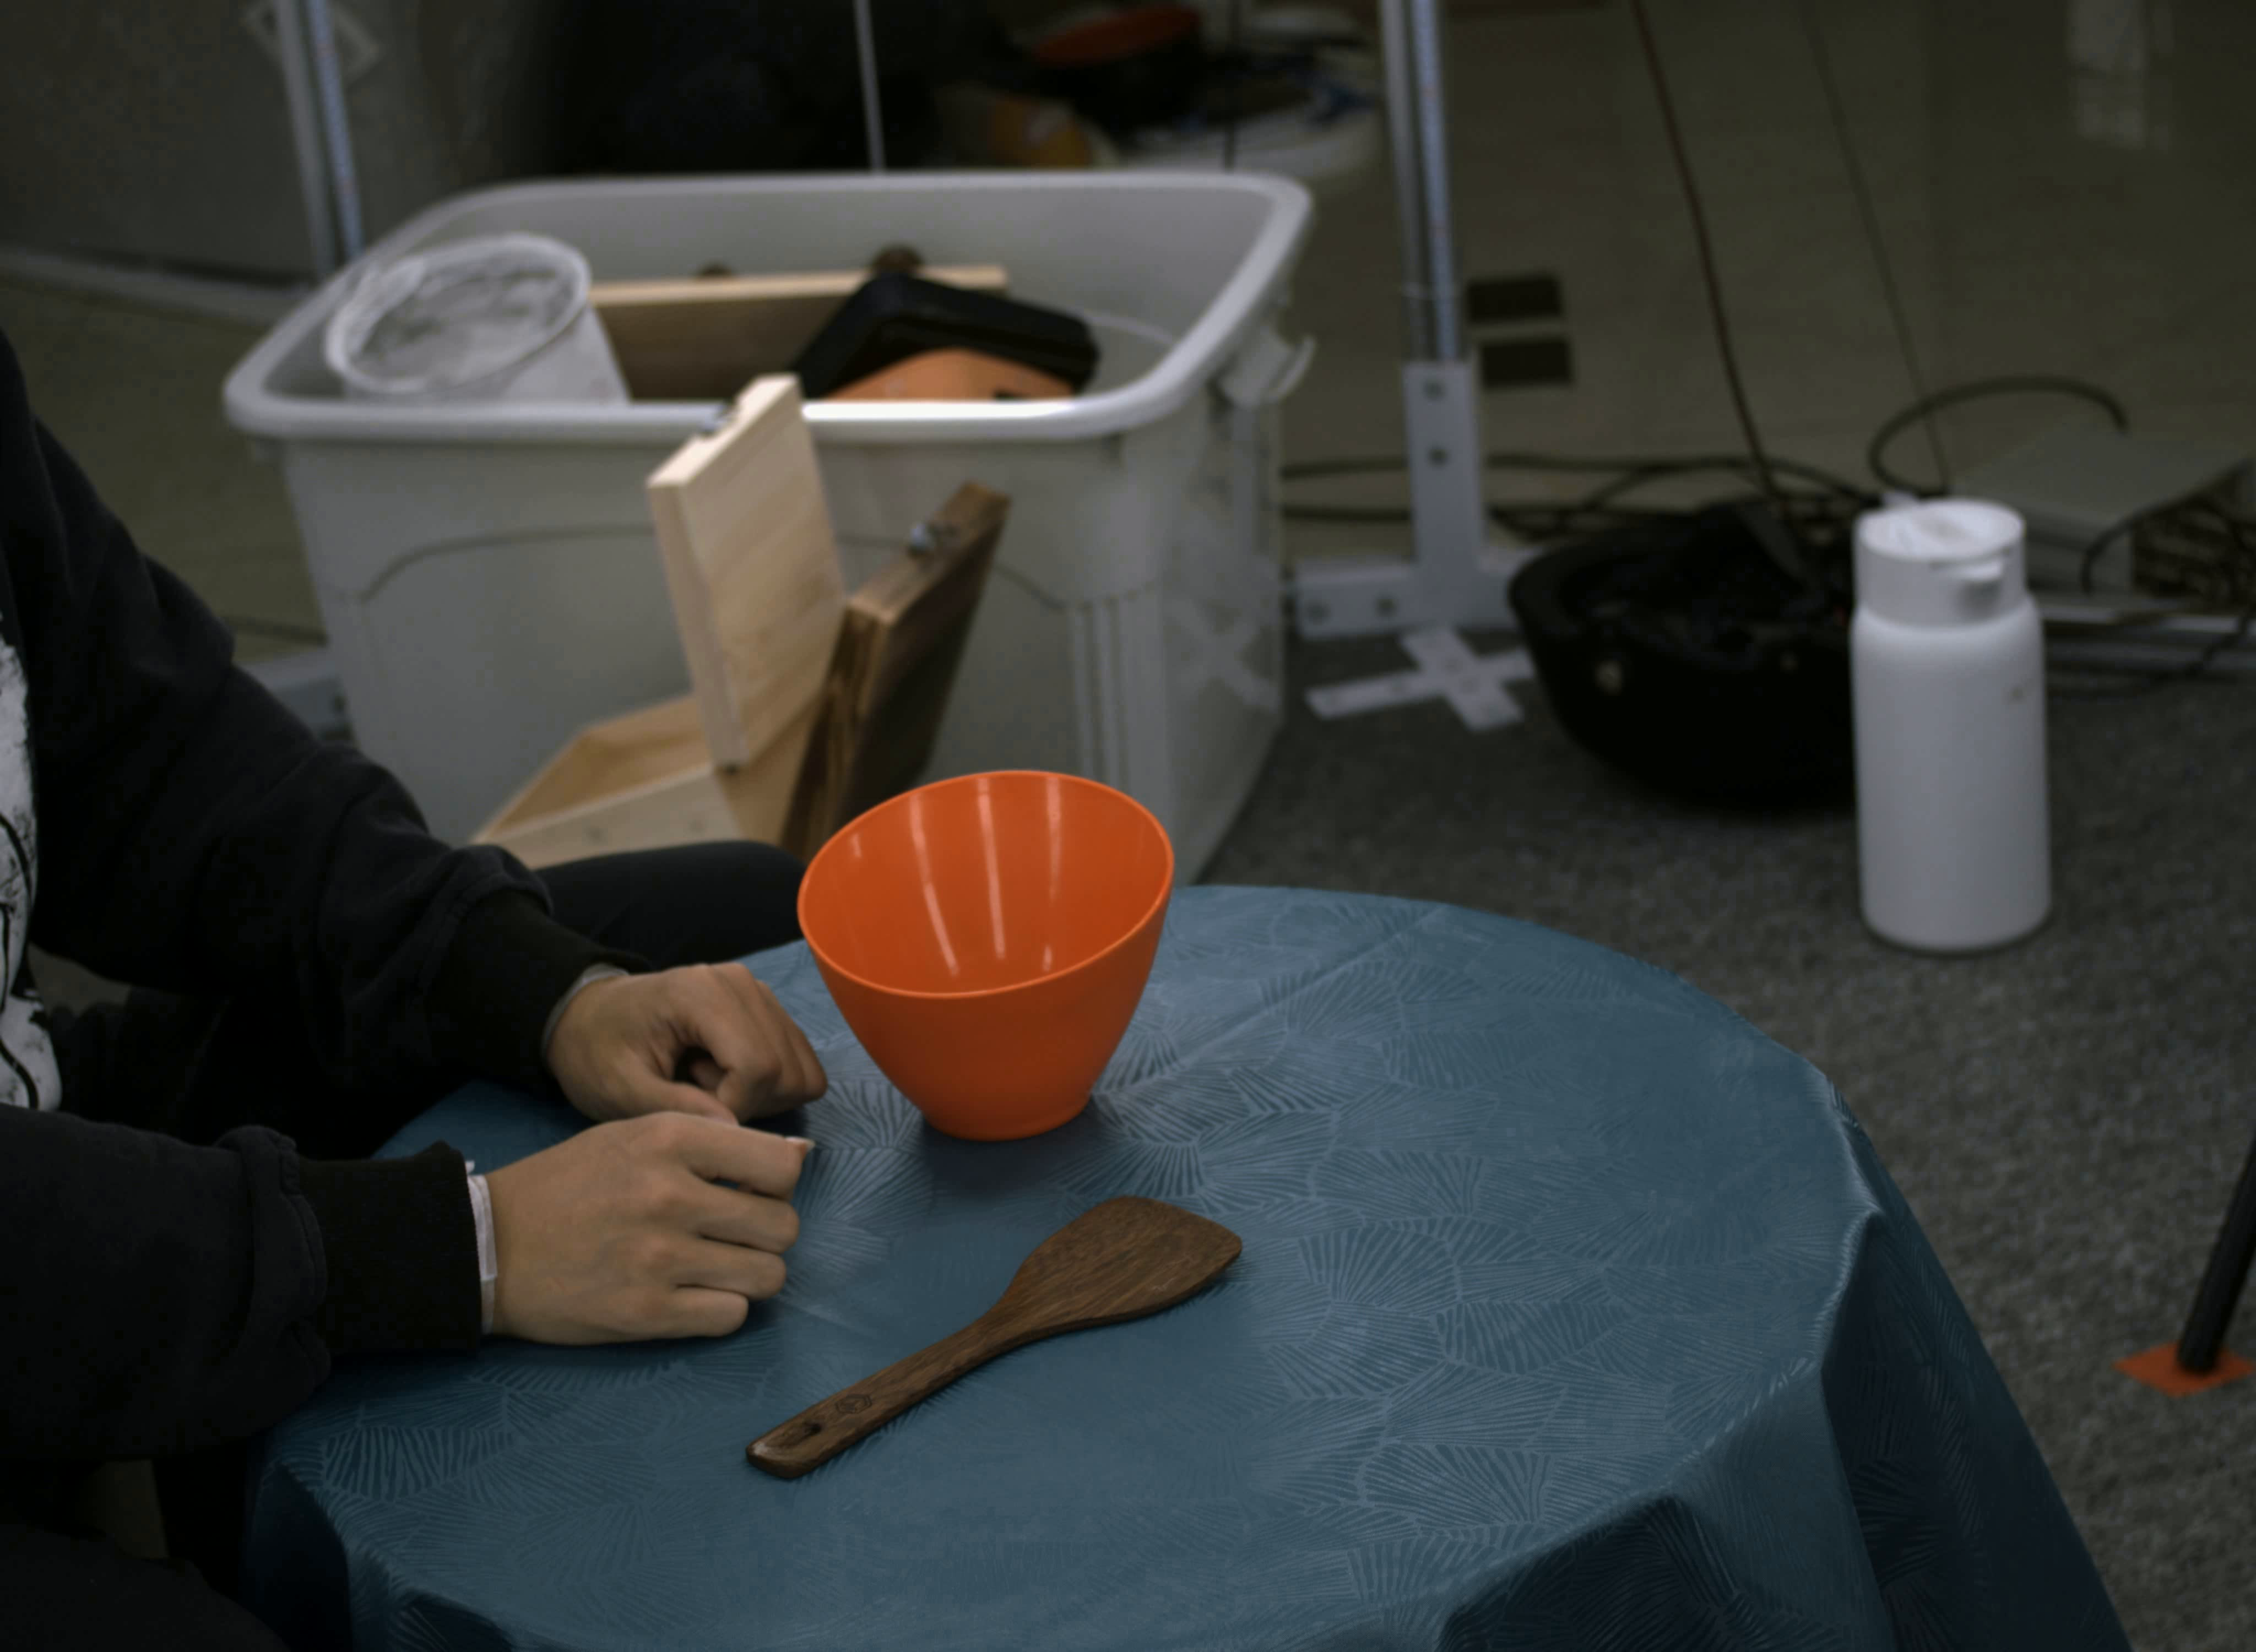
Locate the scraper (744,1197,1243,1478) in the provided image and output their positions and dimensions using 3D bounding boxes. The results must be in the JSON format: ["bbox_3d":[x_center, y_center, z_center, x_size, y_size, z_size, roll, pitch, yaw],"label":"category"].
[{"bbox_3d":[-0.053,0.187,2.054,0.209,0.011,0.075,-27,31,-35],"label":"scraper"}]

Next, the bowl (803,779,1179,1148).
[{"bbox_3d":[-0.050,0.060,2.214,0.148,0.106,0.146,-5,25,2],"label":"bowl"}]
